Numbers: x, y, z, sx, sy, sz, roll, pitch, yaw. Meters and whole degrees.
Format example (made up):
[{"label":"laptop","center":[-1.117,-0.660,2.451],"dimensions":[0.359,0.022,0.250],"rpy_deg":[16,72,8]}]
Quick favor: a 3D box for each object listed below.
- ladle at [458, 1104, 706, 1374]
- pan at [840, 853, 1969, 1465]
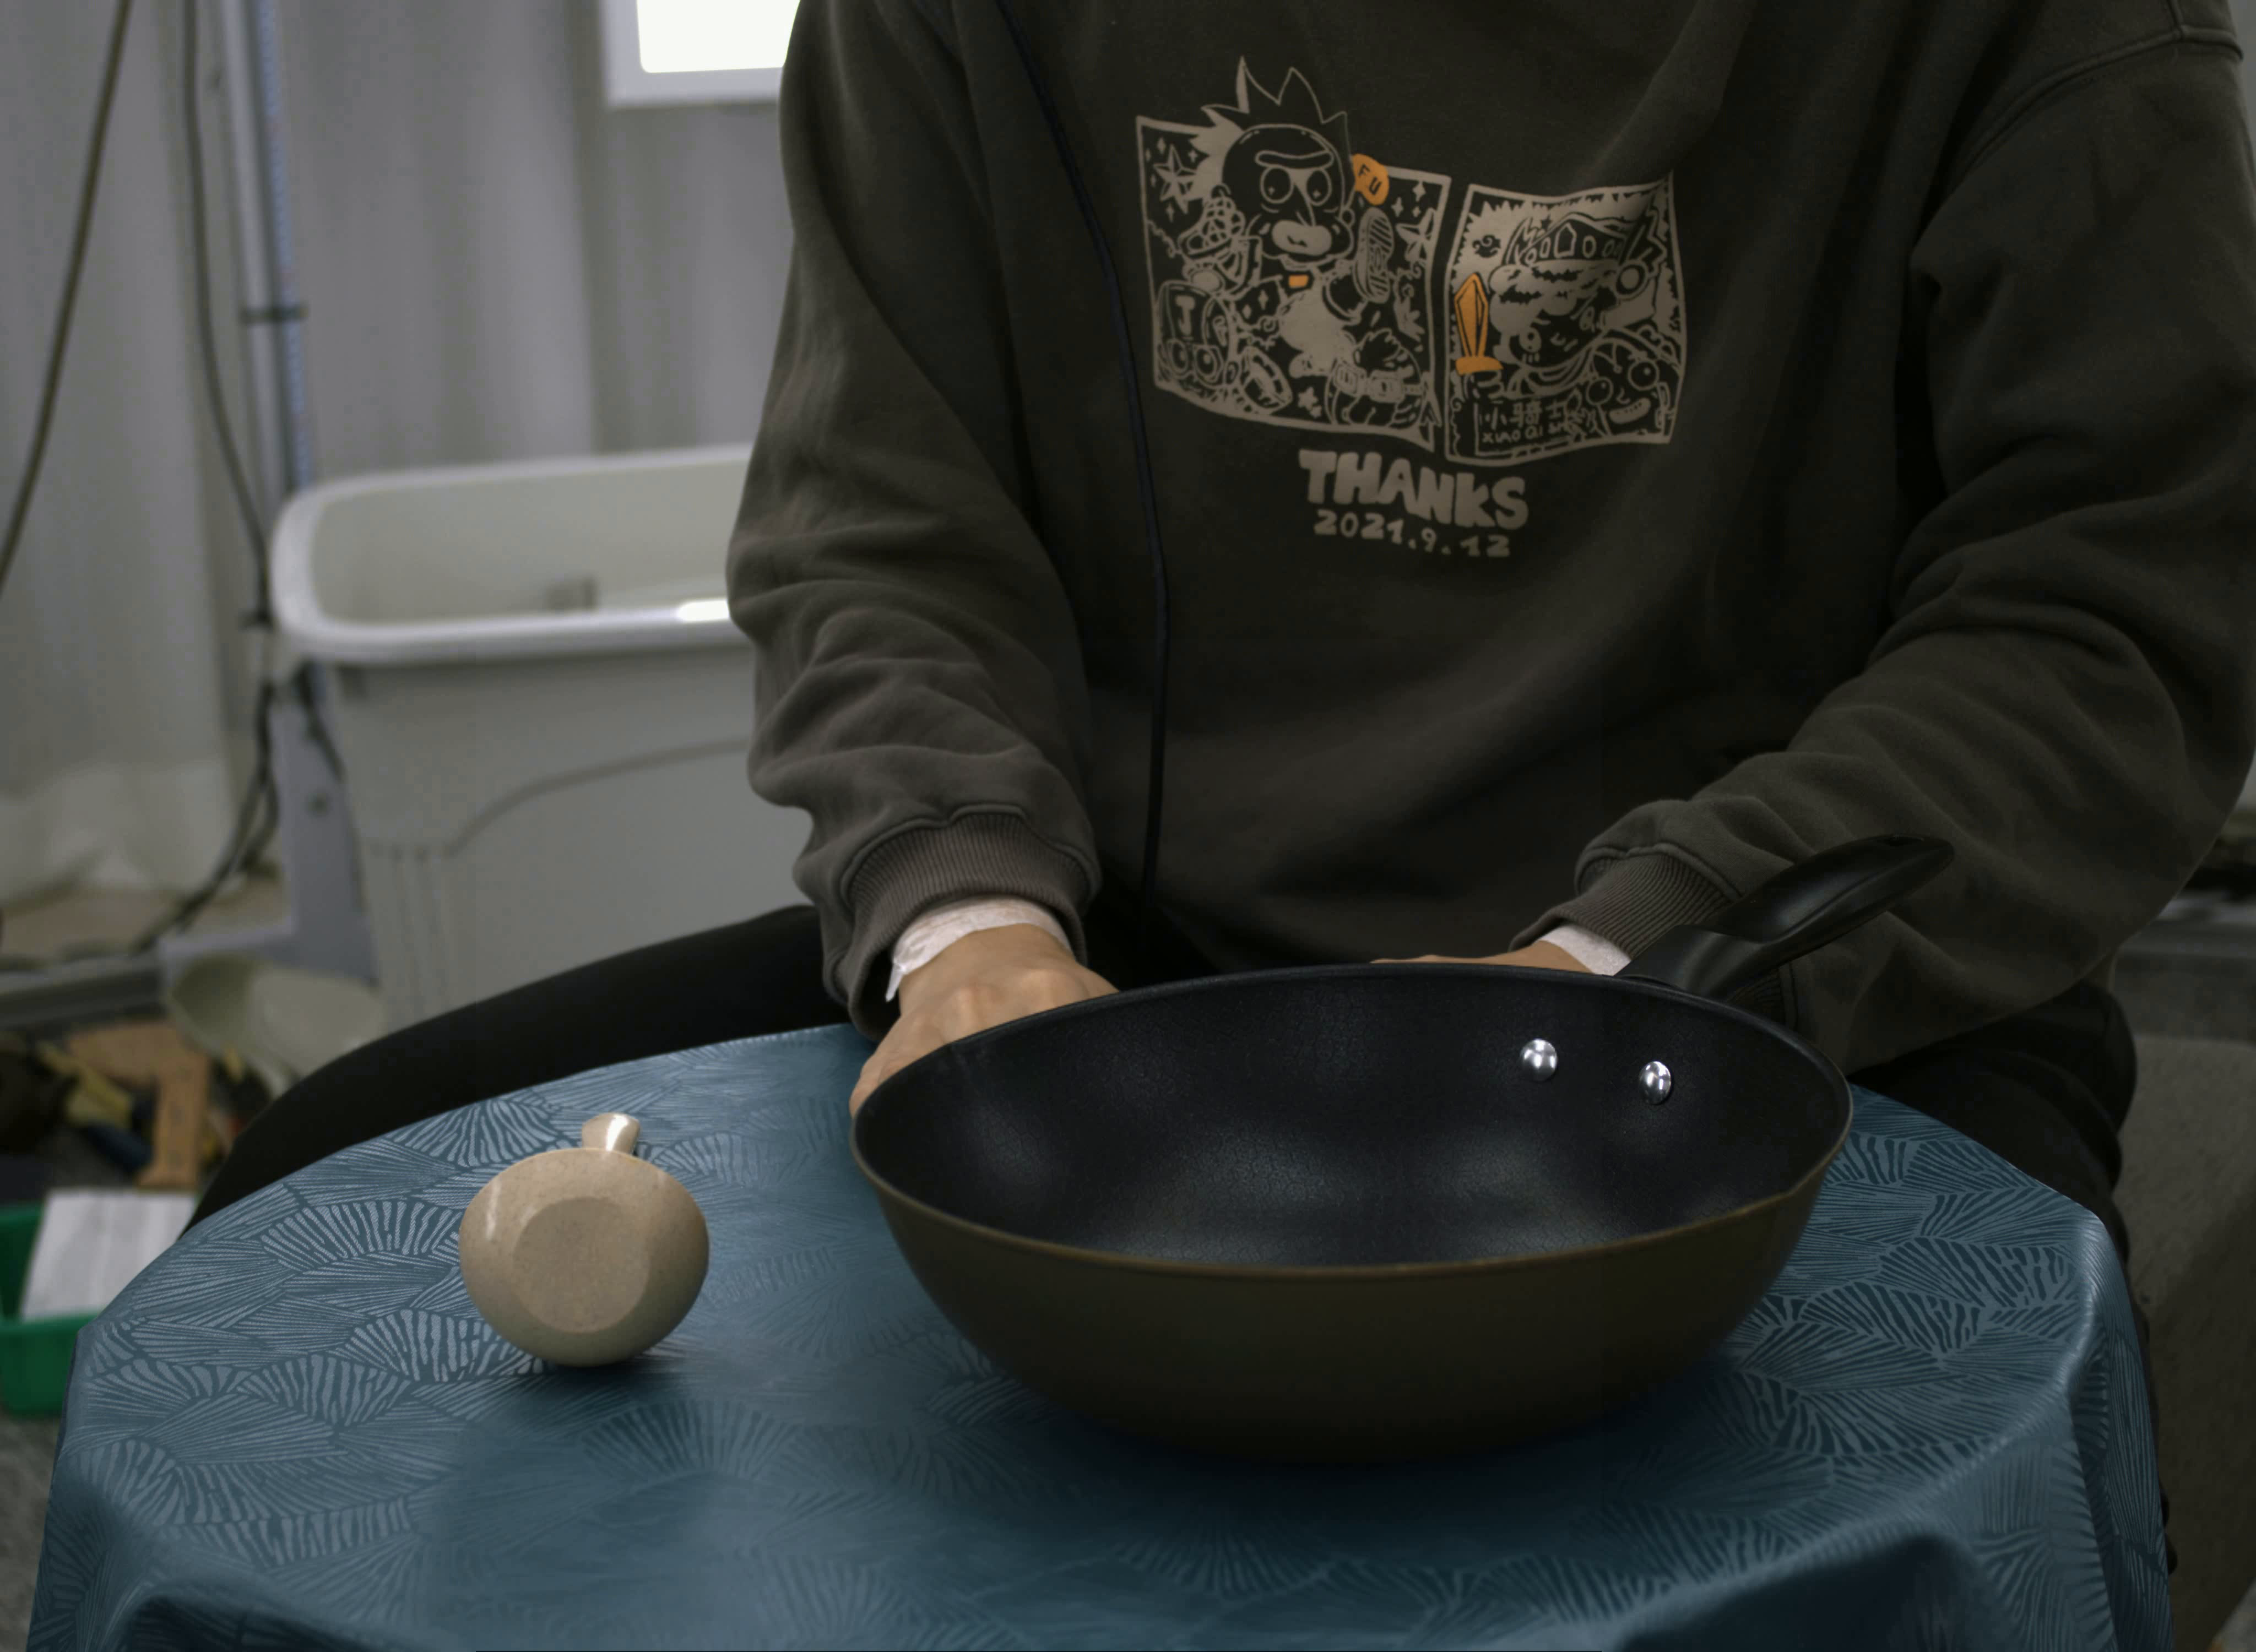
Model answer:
[{"label":"ladle","center":[-0.169,0.097,1.680],"dimensions":[0.072,0.072,0.256],"rpy_deg":[-10,17,-3]},{"label":"pan","center":[0.117,0.095,1.615],"dimensions":[0.289,0.086,0.463],"rpy_deg":[8,18,37]}]
